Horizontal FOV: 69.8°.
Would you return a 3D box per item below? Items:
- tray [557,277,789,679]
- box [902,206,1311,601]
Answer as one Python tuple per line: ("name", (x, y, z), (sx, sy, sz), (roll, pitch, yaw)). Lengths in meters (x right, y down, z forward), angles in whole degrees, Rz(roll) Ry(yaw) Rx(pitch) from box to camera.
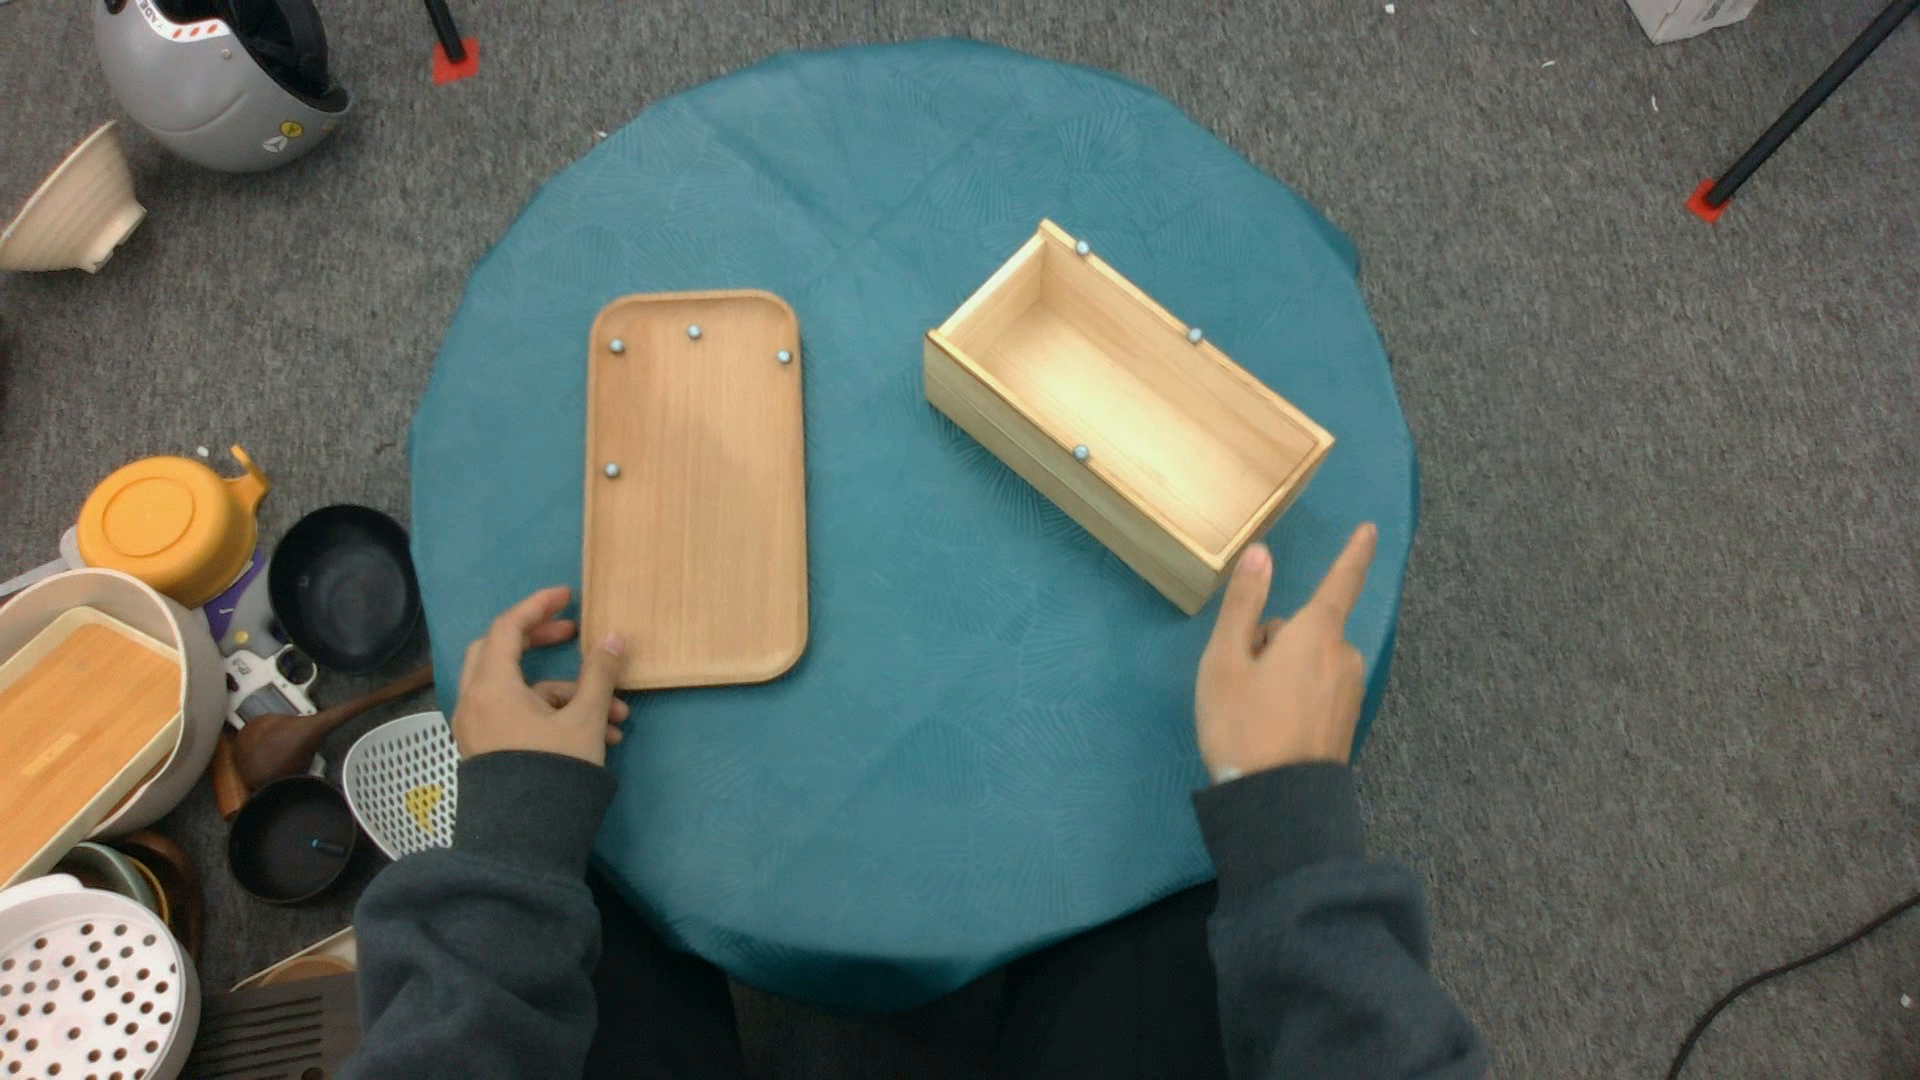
("tray", (-0.168, -0.041, 0.807), (0.130, 0.023, 0.251), (-4, 70, -1))
("box", (0.079, -0.079, 0.798), (0.211, 0.080, 0.108), (40, 73, 12))
